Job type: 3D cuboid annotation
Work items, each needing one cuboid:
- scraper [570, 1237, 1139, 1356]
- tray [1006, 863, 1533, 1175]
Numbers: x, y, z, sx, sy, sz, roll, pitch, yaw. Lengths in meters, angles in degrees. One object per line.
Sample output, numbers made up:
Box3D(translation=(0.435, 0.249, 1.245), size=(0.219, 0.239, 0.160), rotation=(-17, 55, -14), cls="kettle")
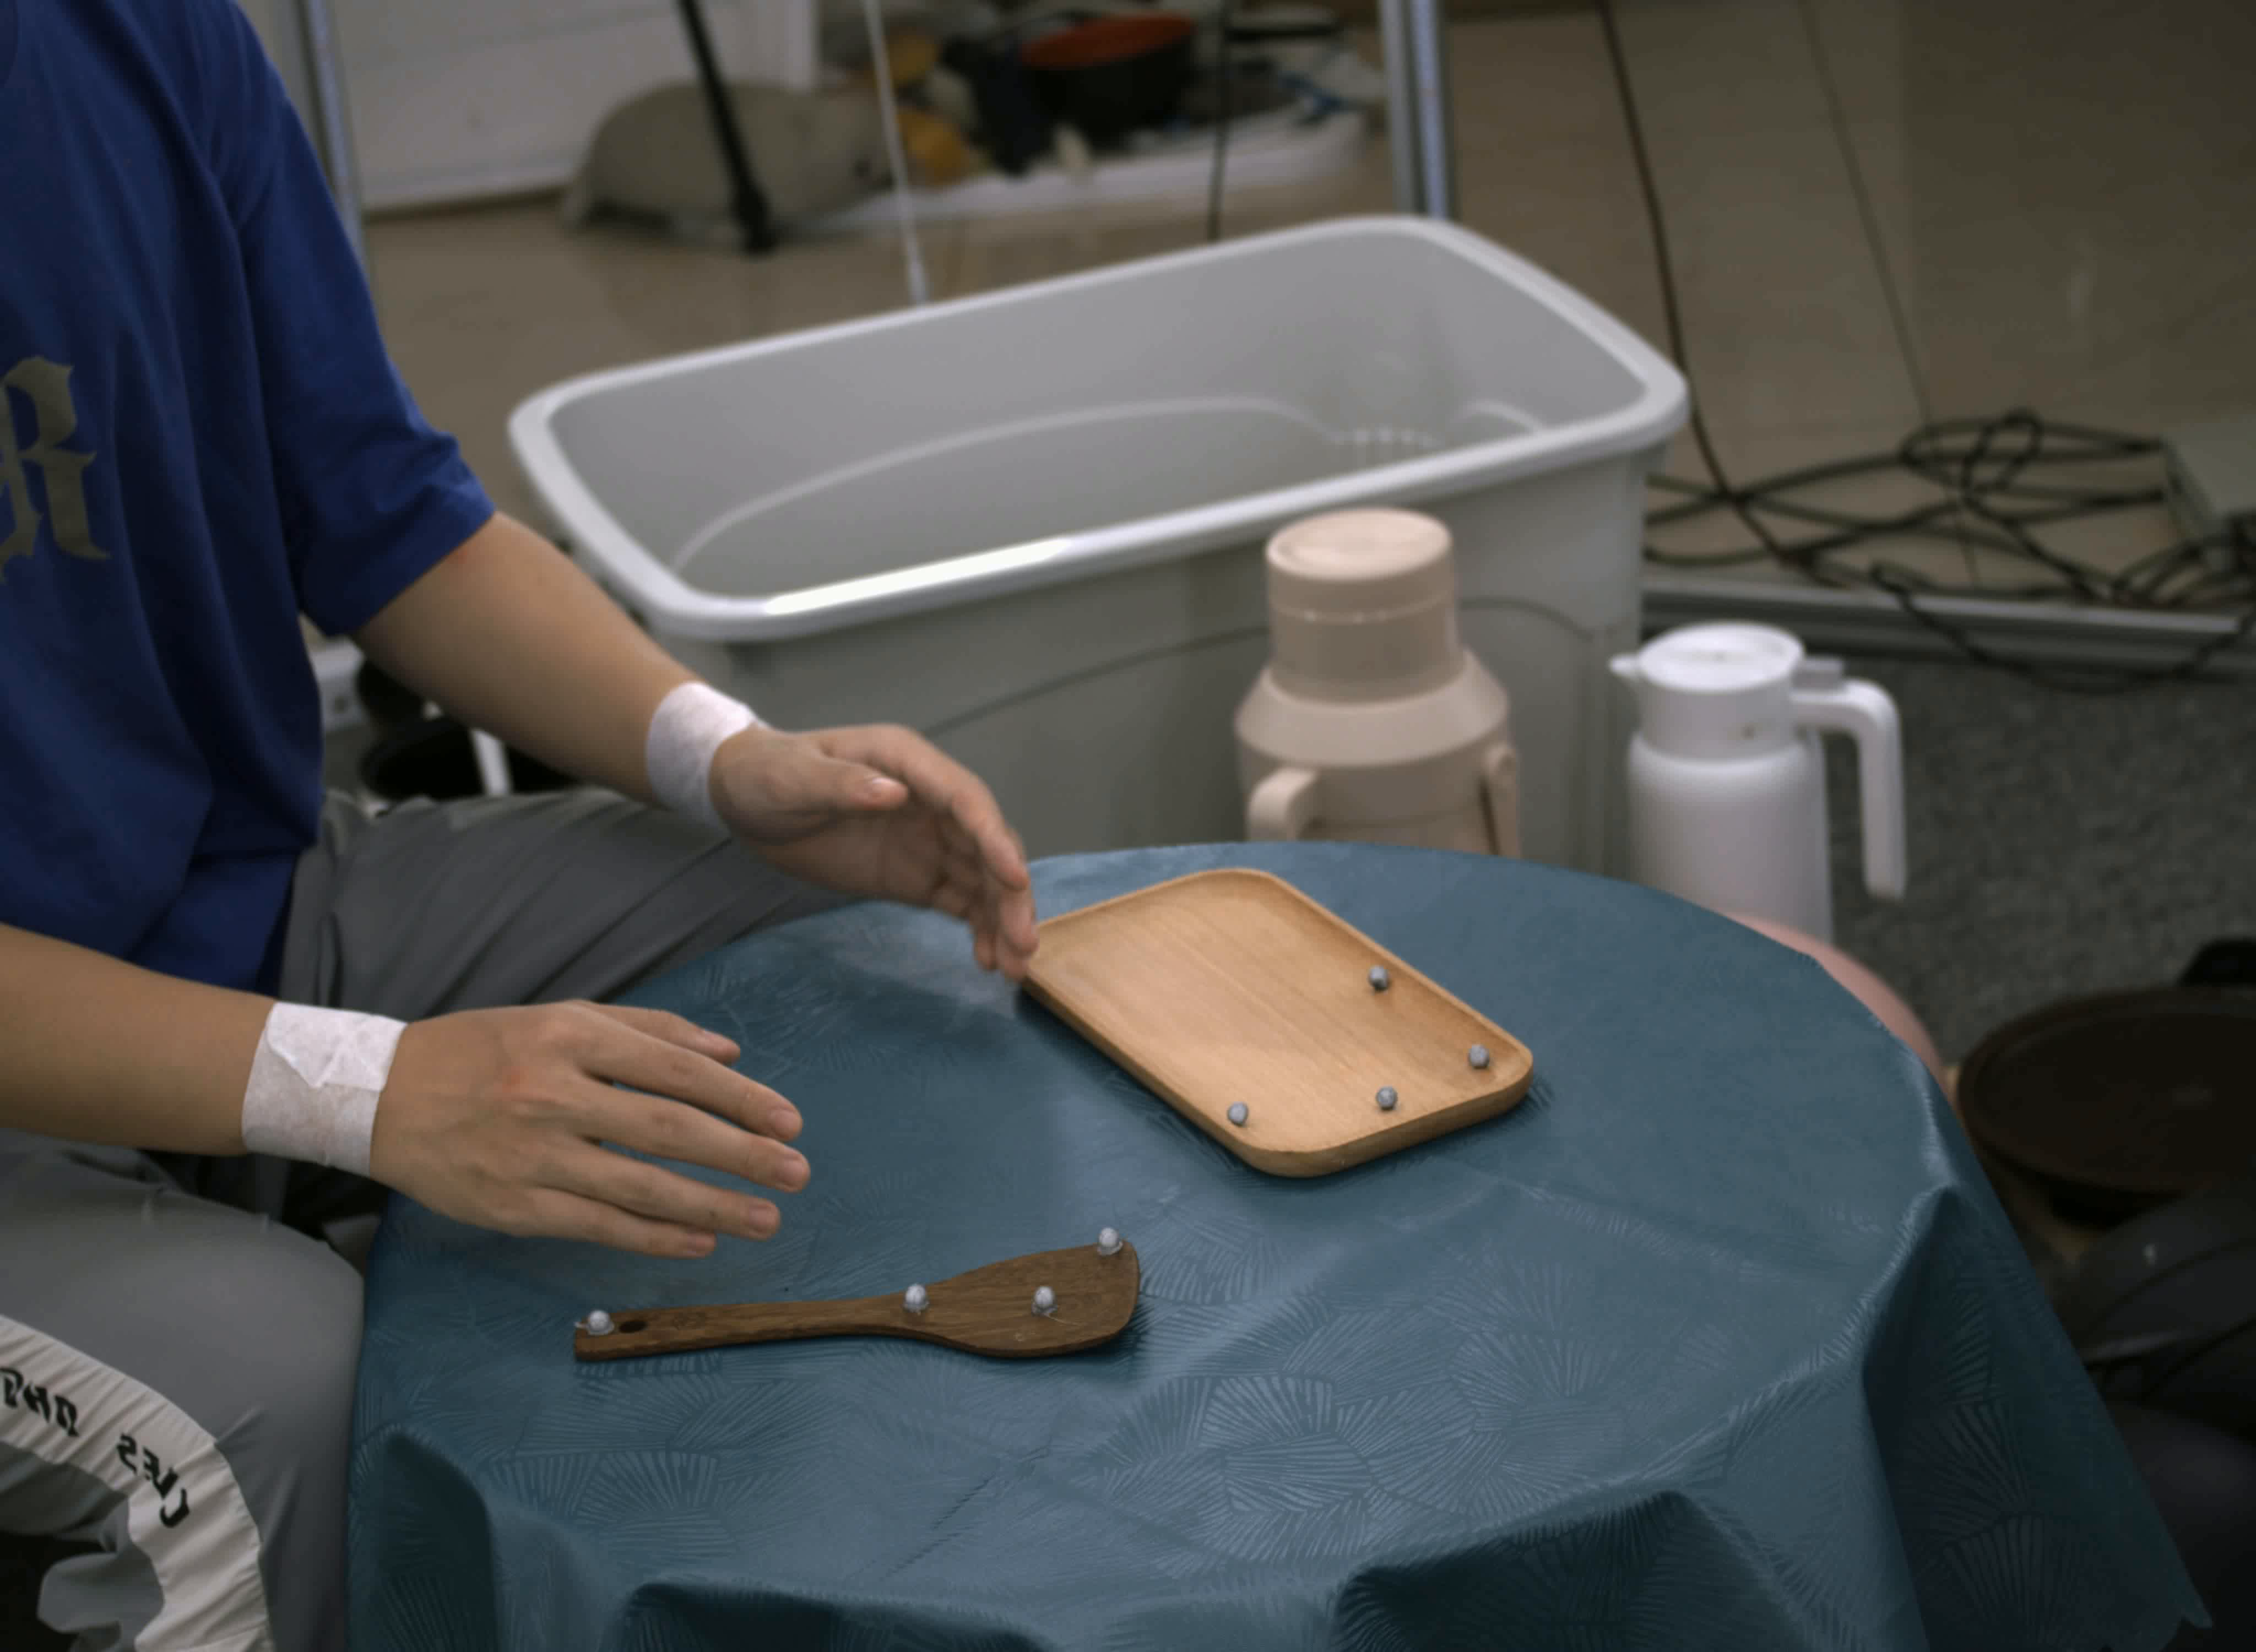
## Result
Box3D(translation=(-0.100, 0.178, 2.075), size=(0.211, 0.011, 0.075), rotation=(-5, 24, 5), cls="scraper")
Box3D(translation=(0.053, 0.075, 2.252), size=(0.130, 0.023, 0.248), rotation=(-15, 25, -23), cls="tray")
